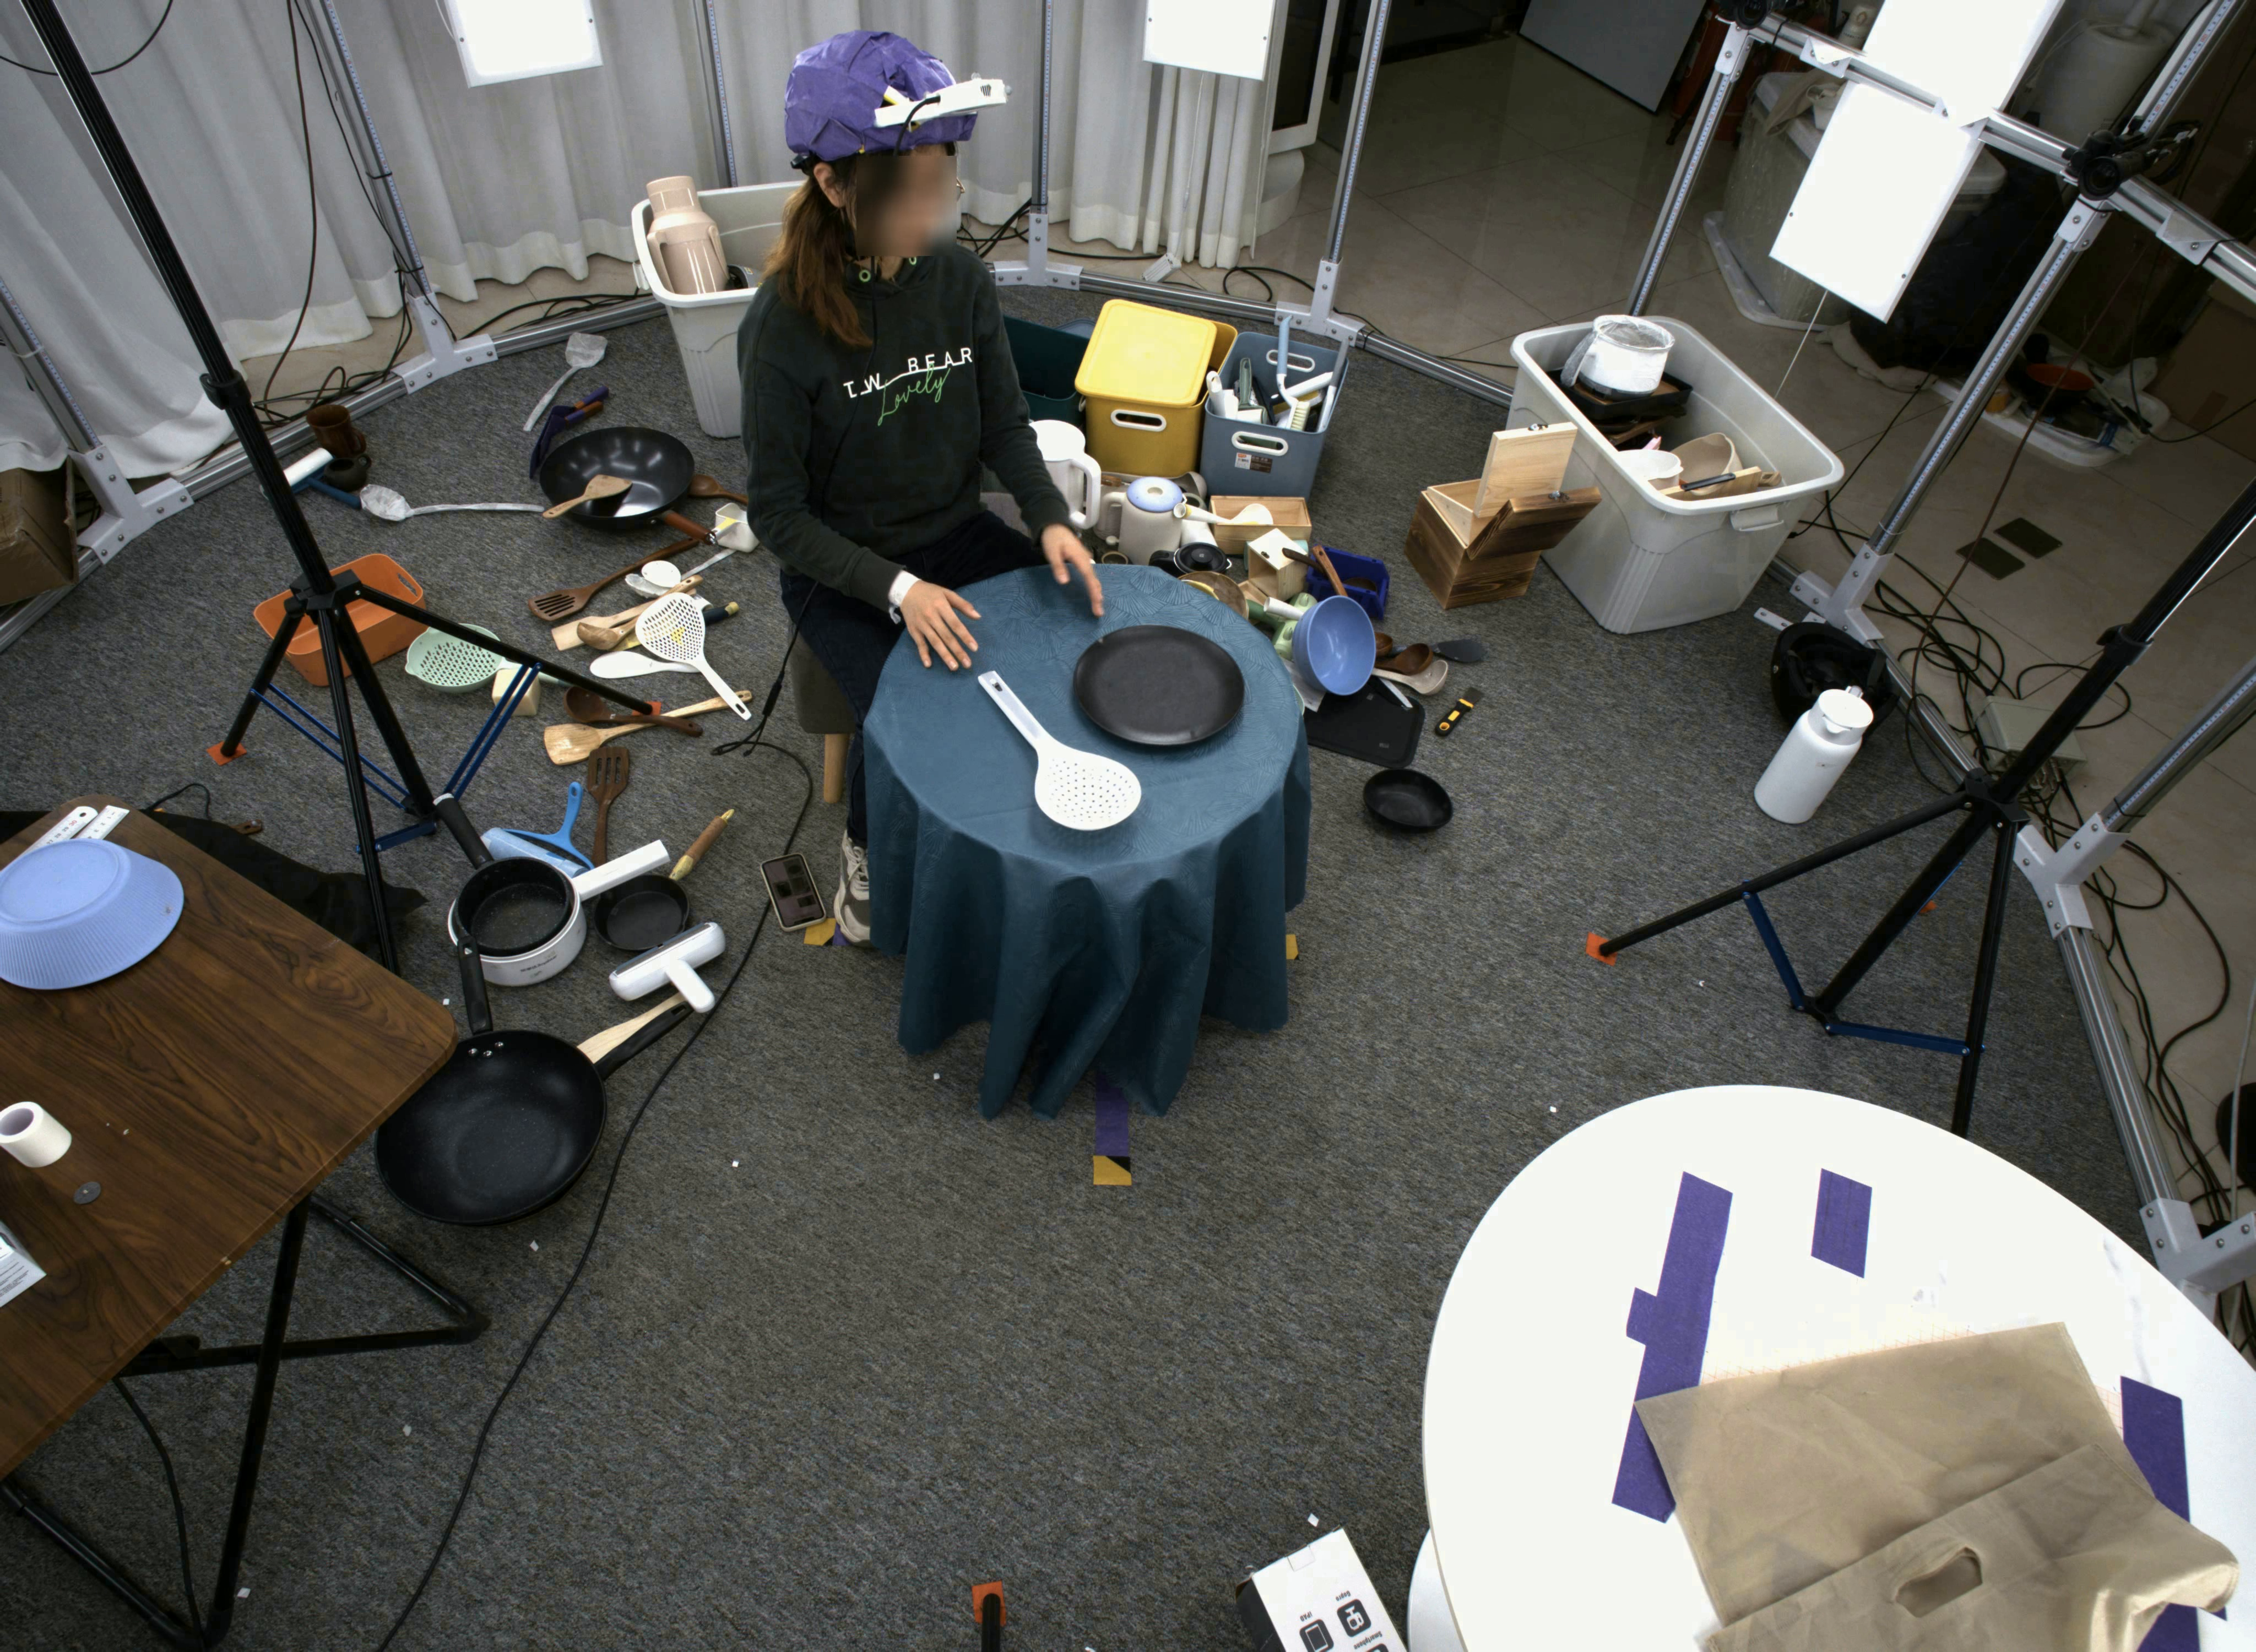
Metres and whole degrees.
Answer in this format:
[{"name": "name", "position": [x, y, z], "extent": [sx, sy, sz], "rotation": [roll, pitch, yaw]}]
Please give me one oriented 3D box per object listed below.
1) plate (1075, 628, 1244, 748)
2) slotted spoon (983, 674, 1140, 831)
[{"name": "plate", "position": [0.045, -0.197, 1.844], "extent": [0.244, 0.023, 0.250], "rotation": [2, 49, -2]}, {"name": "slotted spoon", "position": [-0.109, -0.105, 1.739], "extent": [0.136, 0.044, 0.357], "rotation": [-21, 53, -23]}]
